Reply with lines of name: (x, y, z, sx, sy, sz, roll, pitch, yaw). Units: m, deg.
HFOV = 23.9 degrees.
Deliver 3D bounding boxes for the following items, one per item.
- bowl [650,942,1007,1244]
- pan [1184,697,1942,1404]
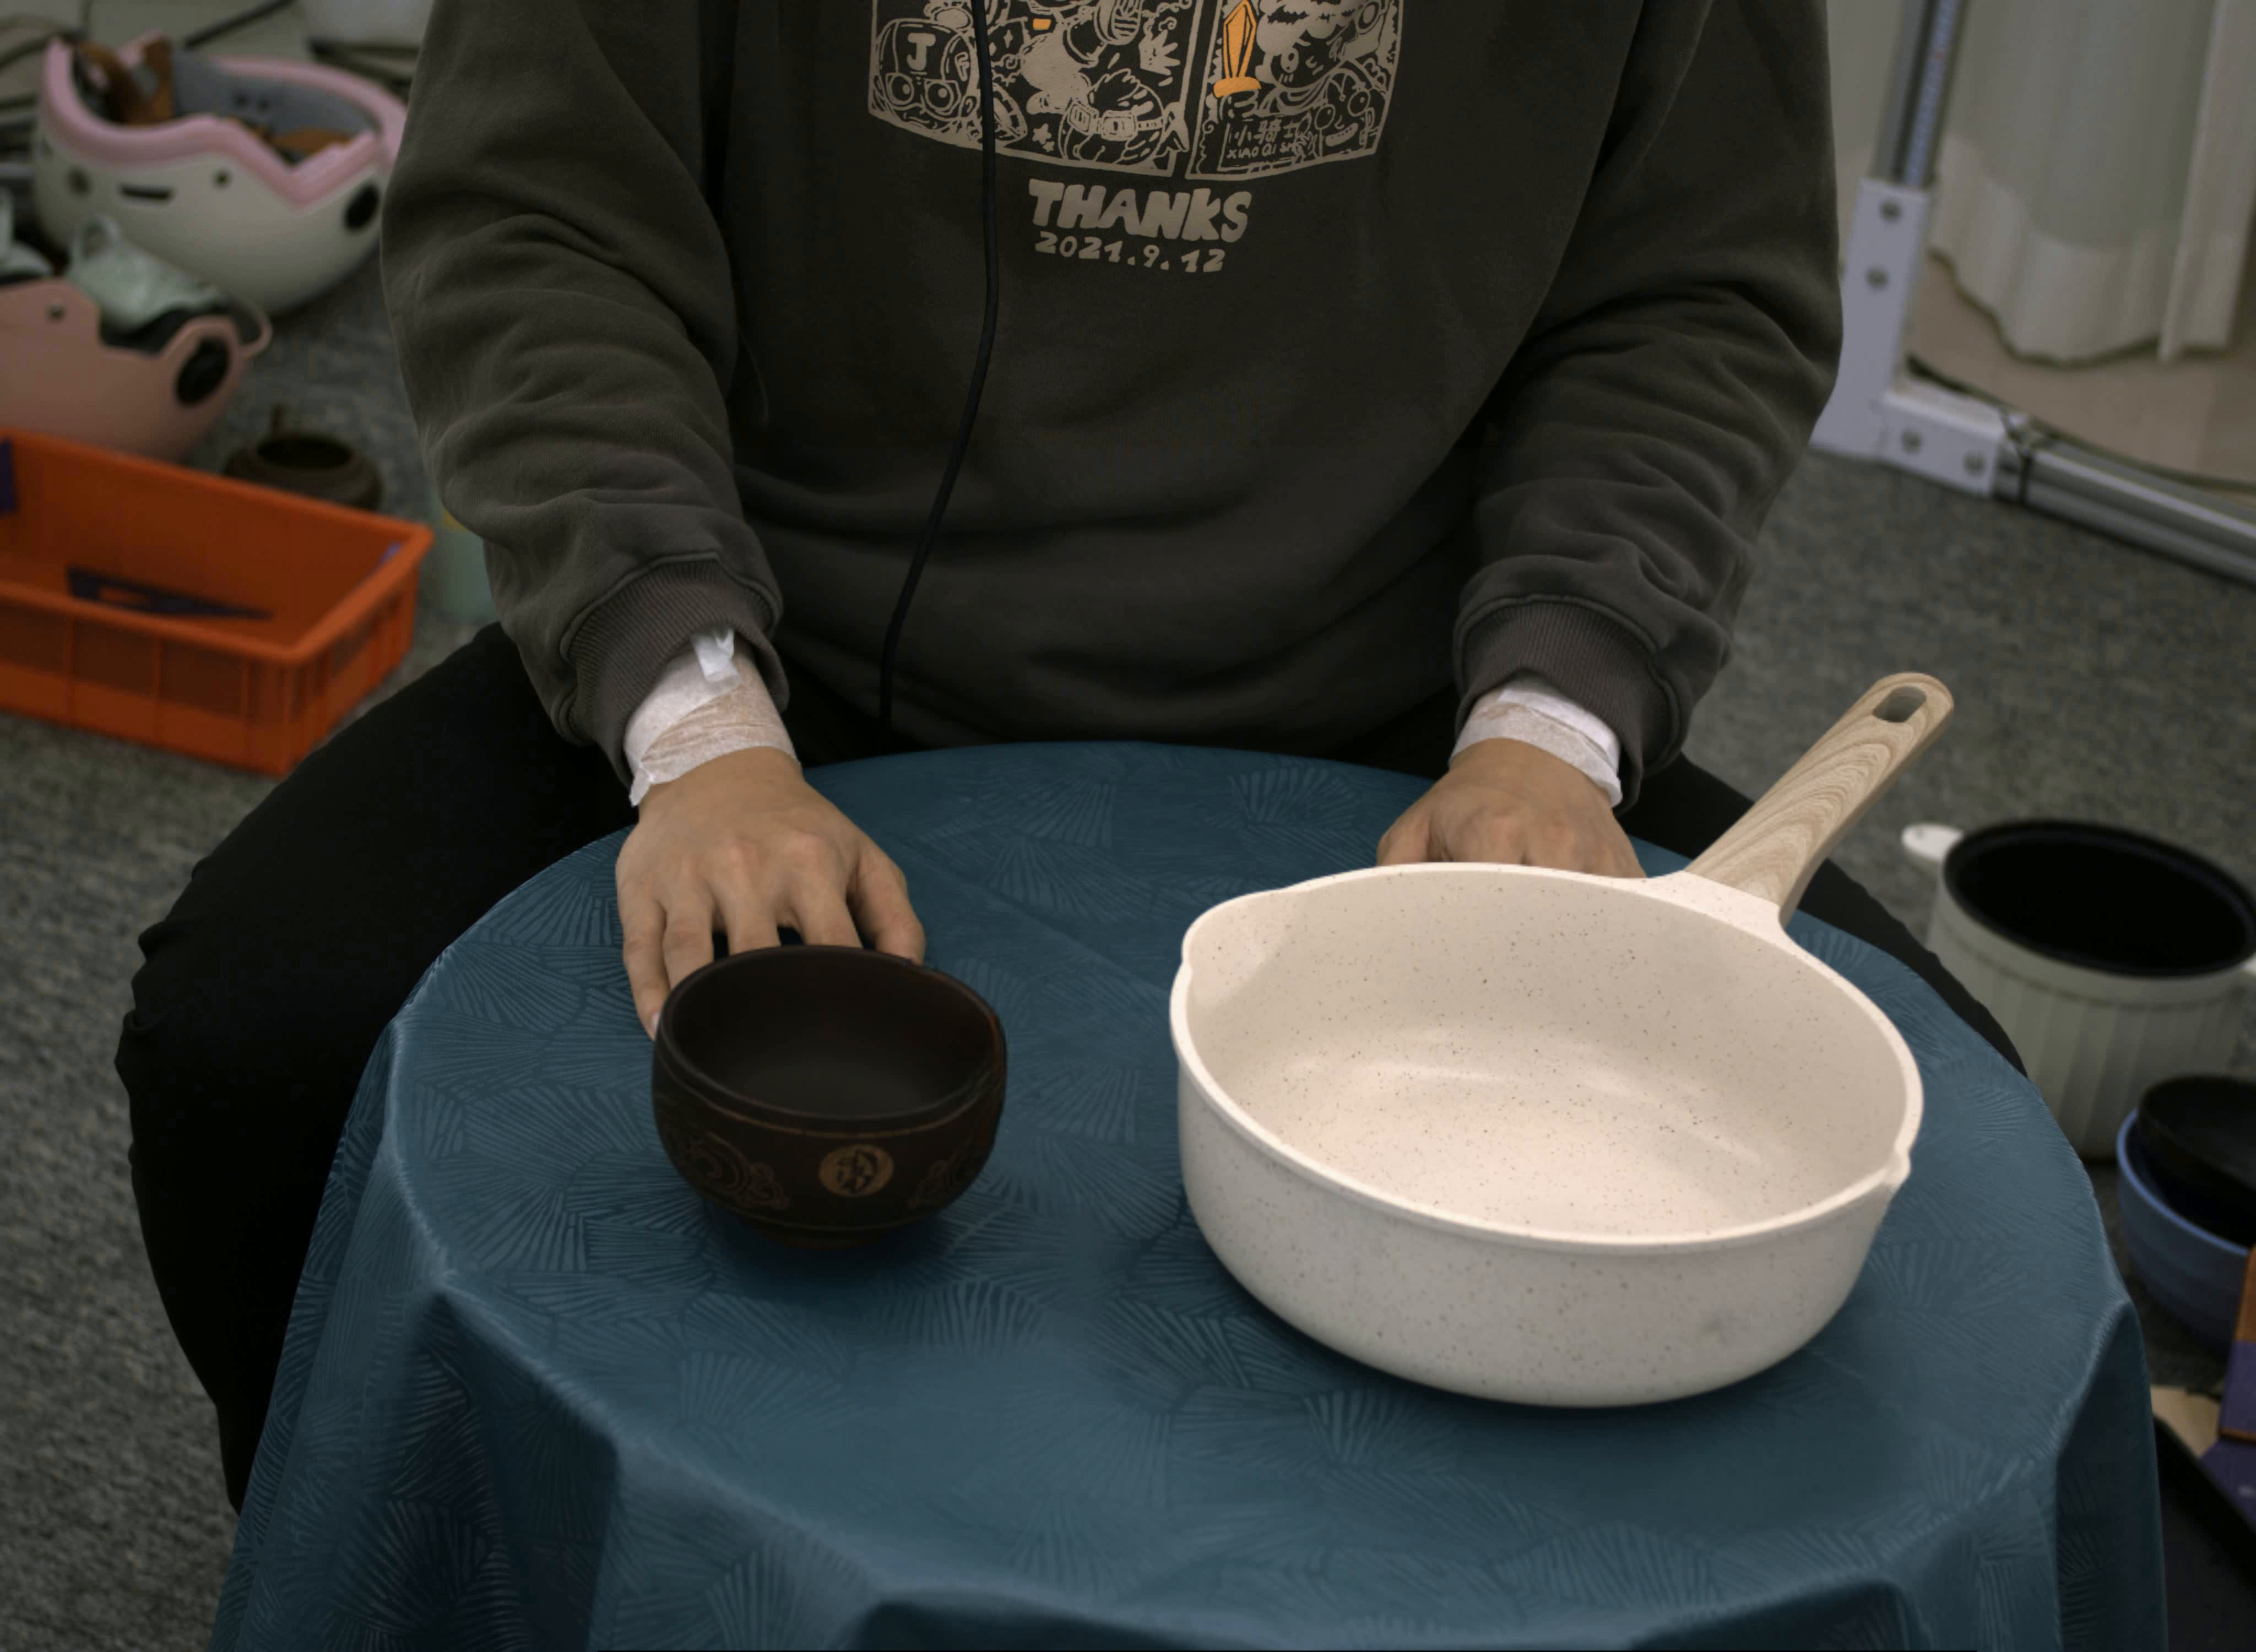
bowl: (-0.100, 0.095, 1.759, 0.117, 0.069, 0.119, 4, 25, -2)
pan: (0.186, 0.070, 1.844, 0.264, 0.101, 0.434, 18, 28, 26)
